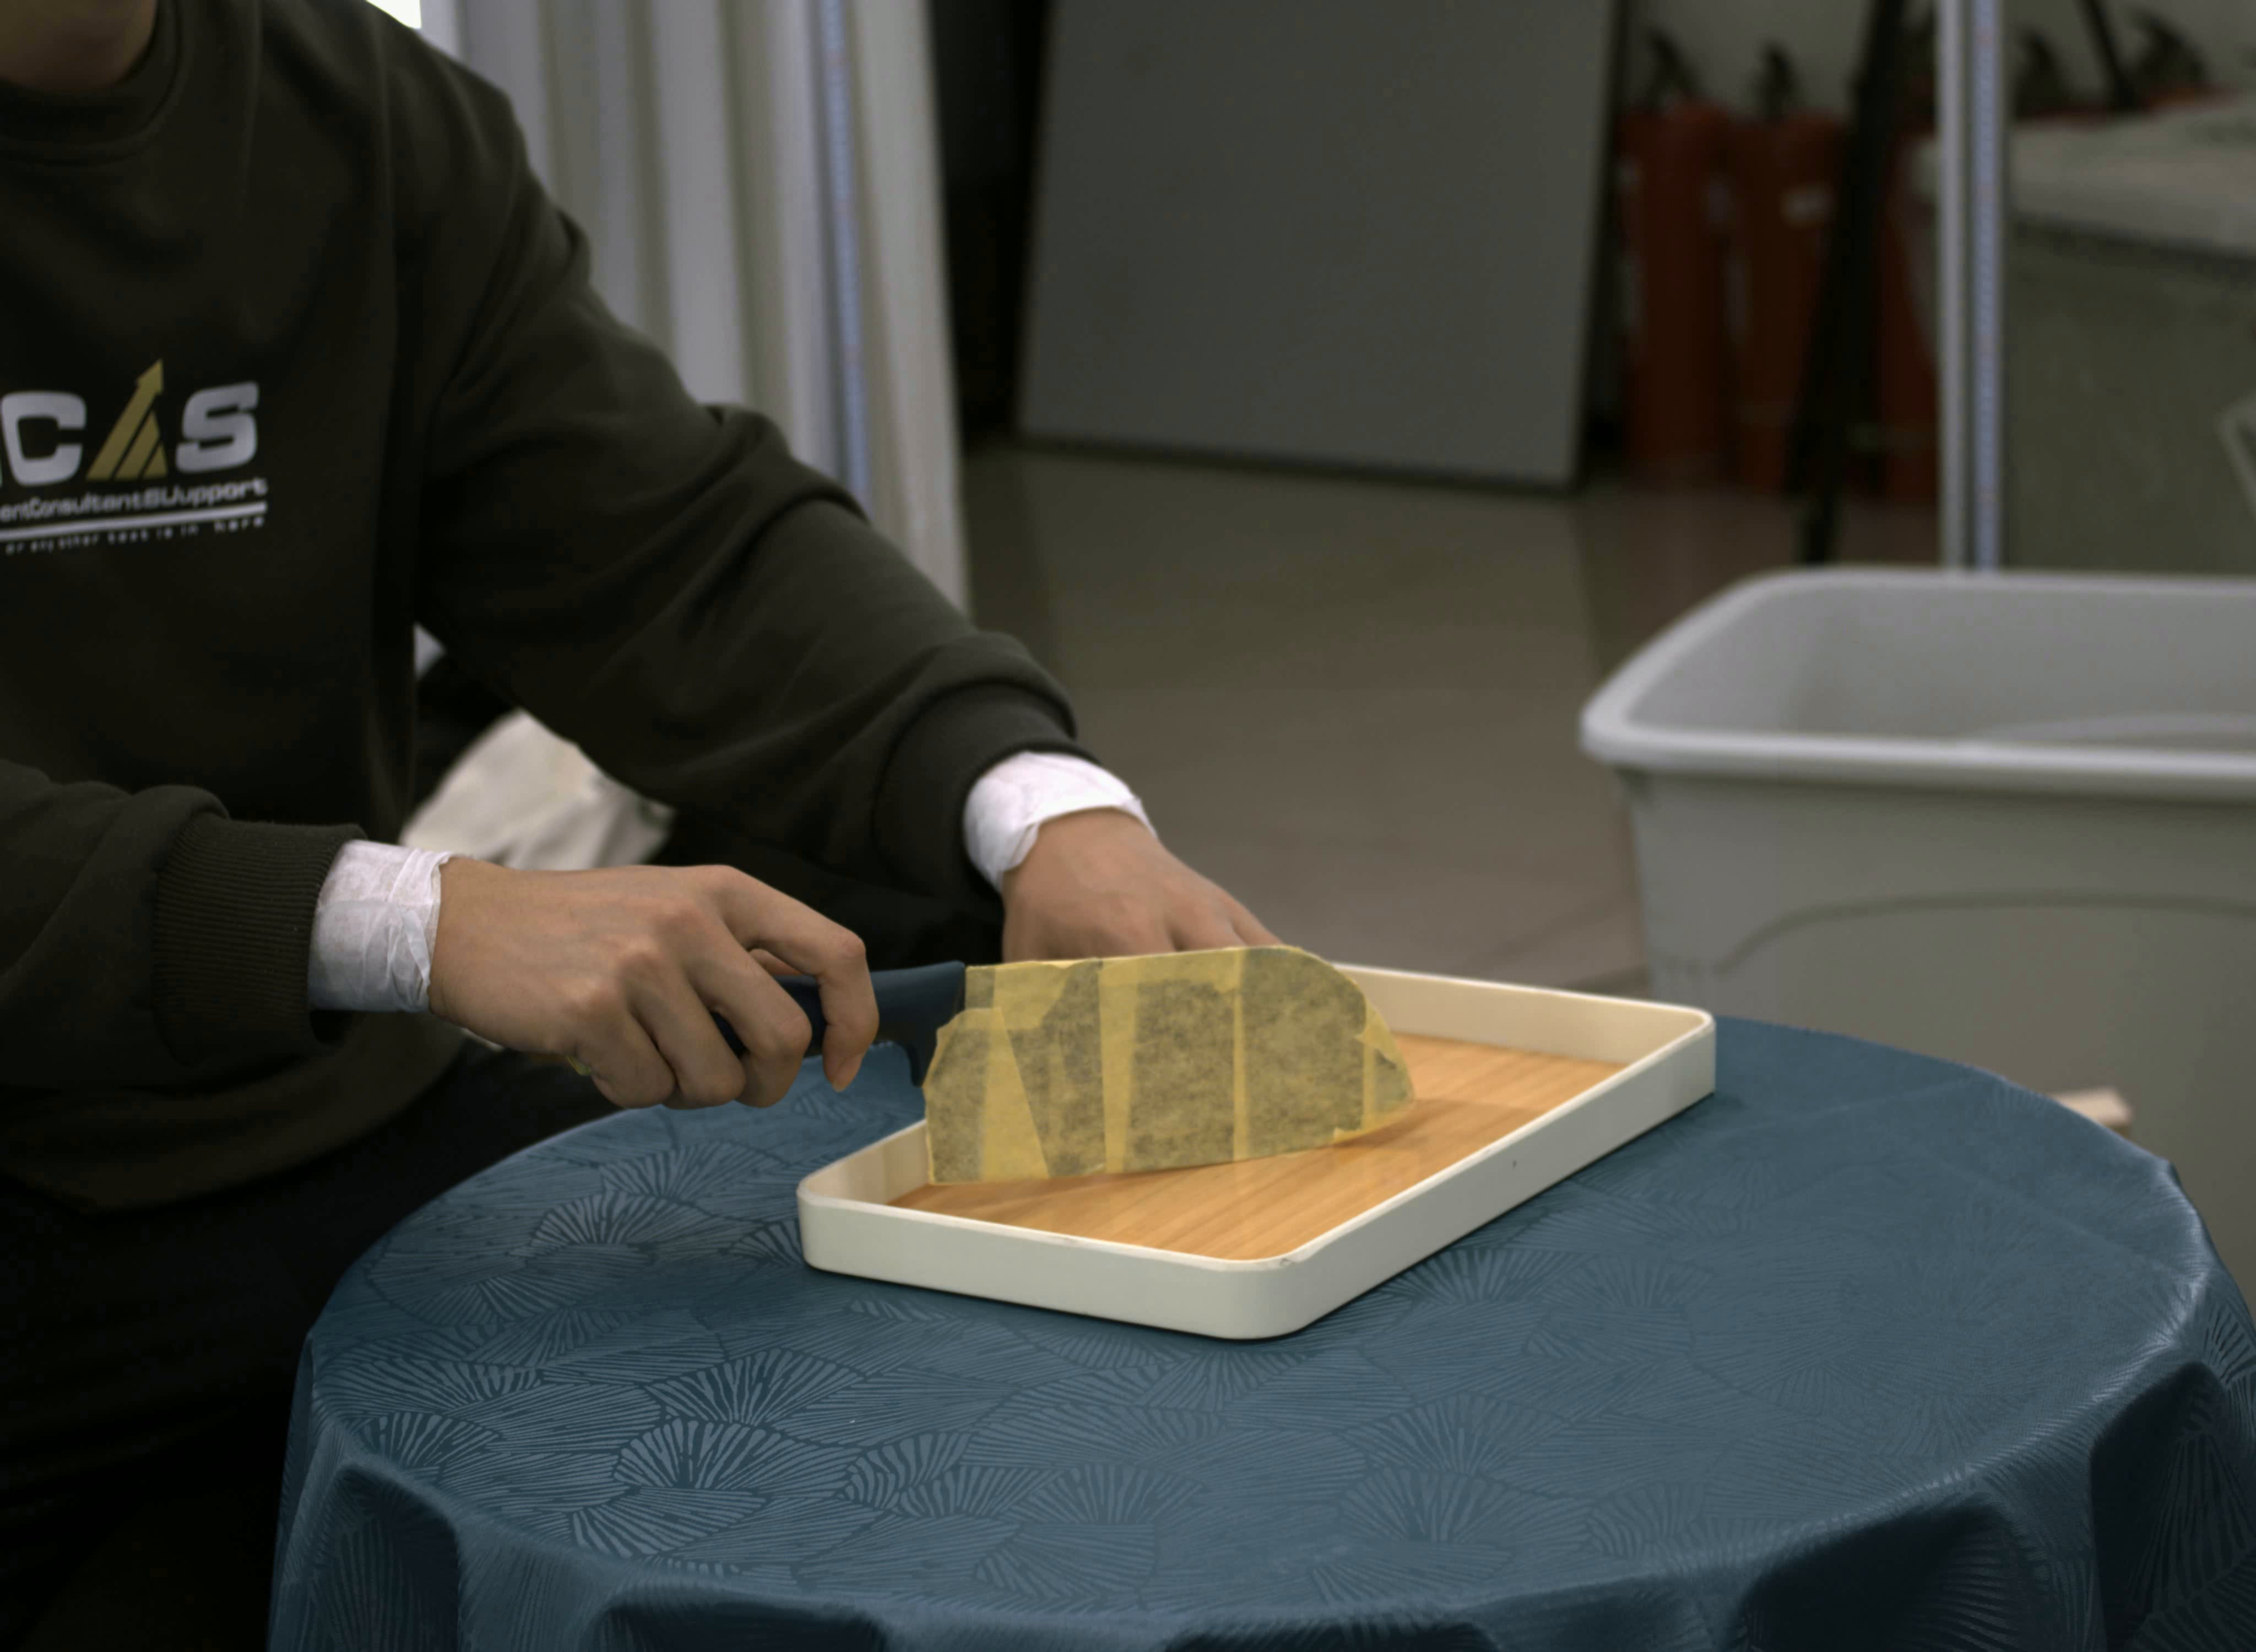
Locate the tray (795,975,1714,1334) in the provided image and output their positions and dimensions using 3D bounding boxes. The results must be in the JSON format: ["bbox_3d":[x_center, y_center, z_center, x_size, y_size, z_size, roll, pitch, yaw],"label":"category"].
[{"bbox_3d":[0.048,0.103,1.779,0.193,0.028,0.295,4,16,35],"label":"tray"}]

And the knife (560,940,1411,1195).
[{"bbox_3d":[-0.042,0.079,1.749,0.284,0.082,0.027,0,4,-14],"label":"knife"}]
